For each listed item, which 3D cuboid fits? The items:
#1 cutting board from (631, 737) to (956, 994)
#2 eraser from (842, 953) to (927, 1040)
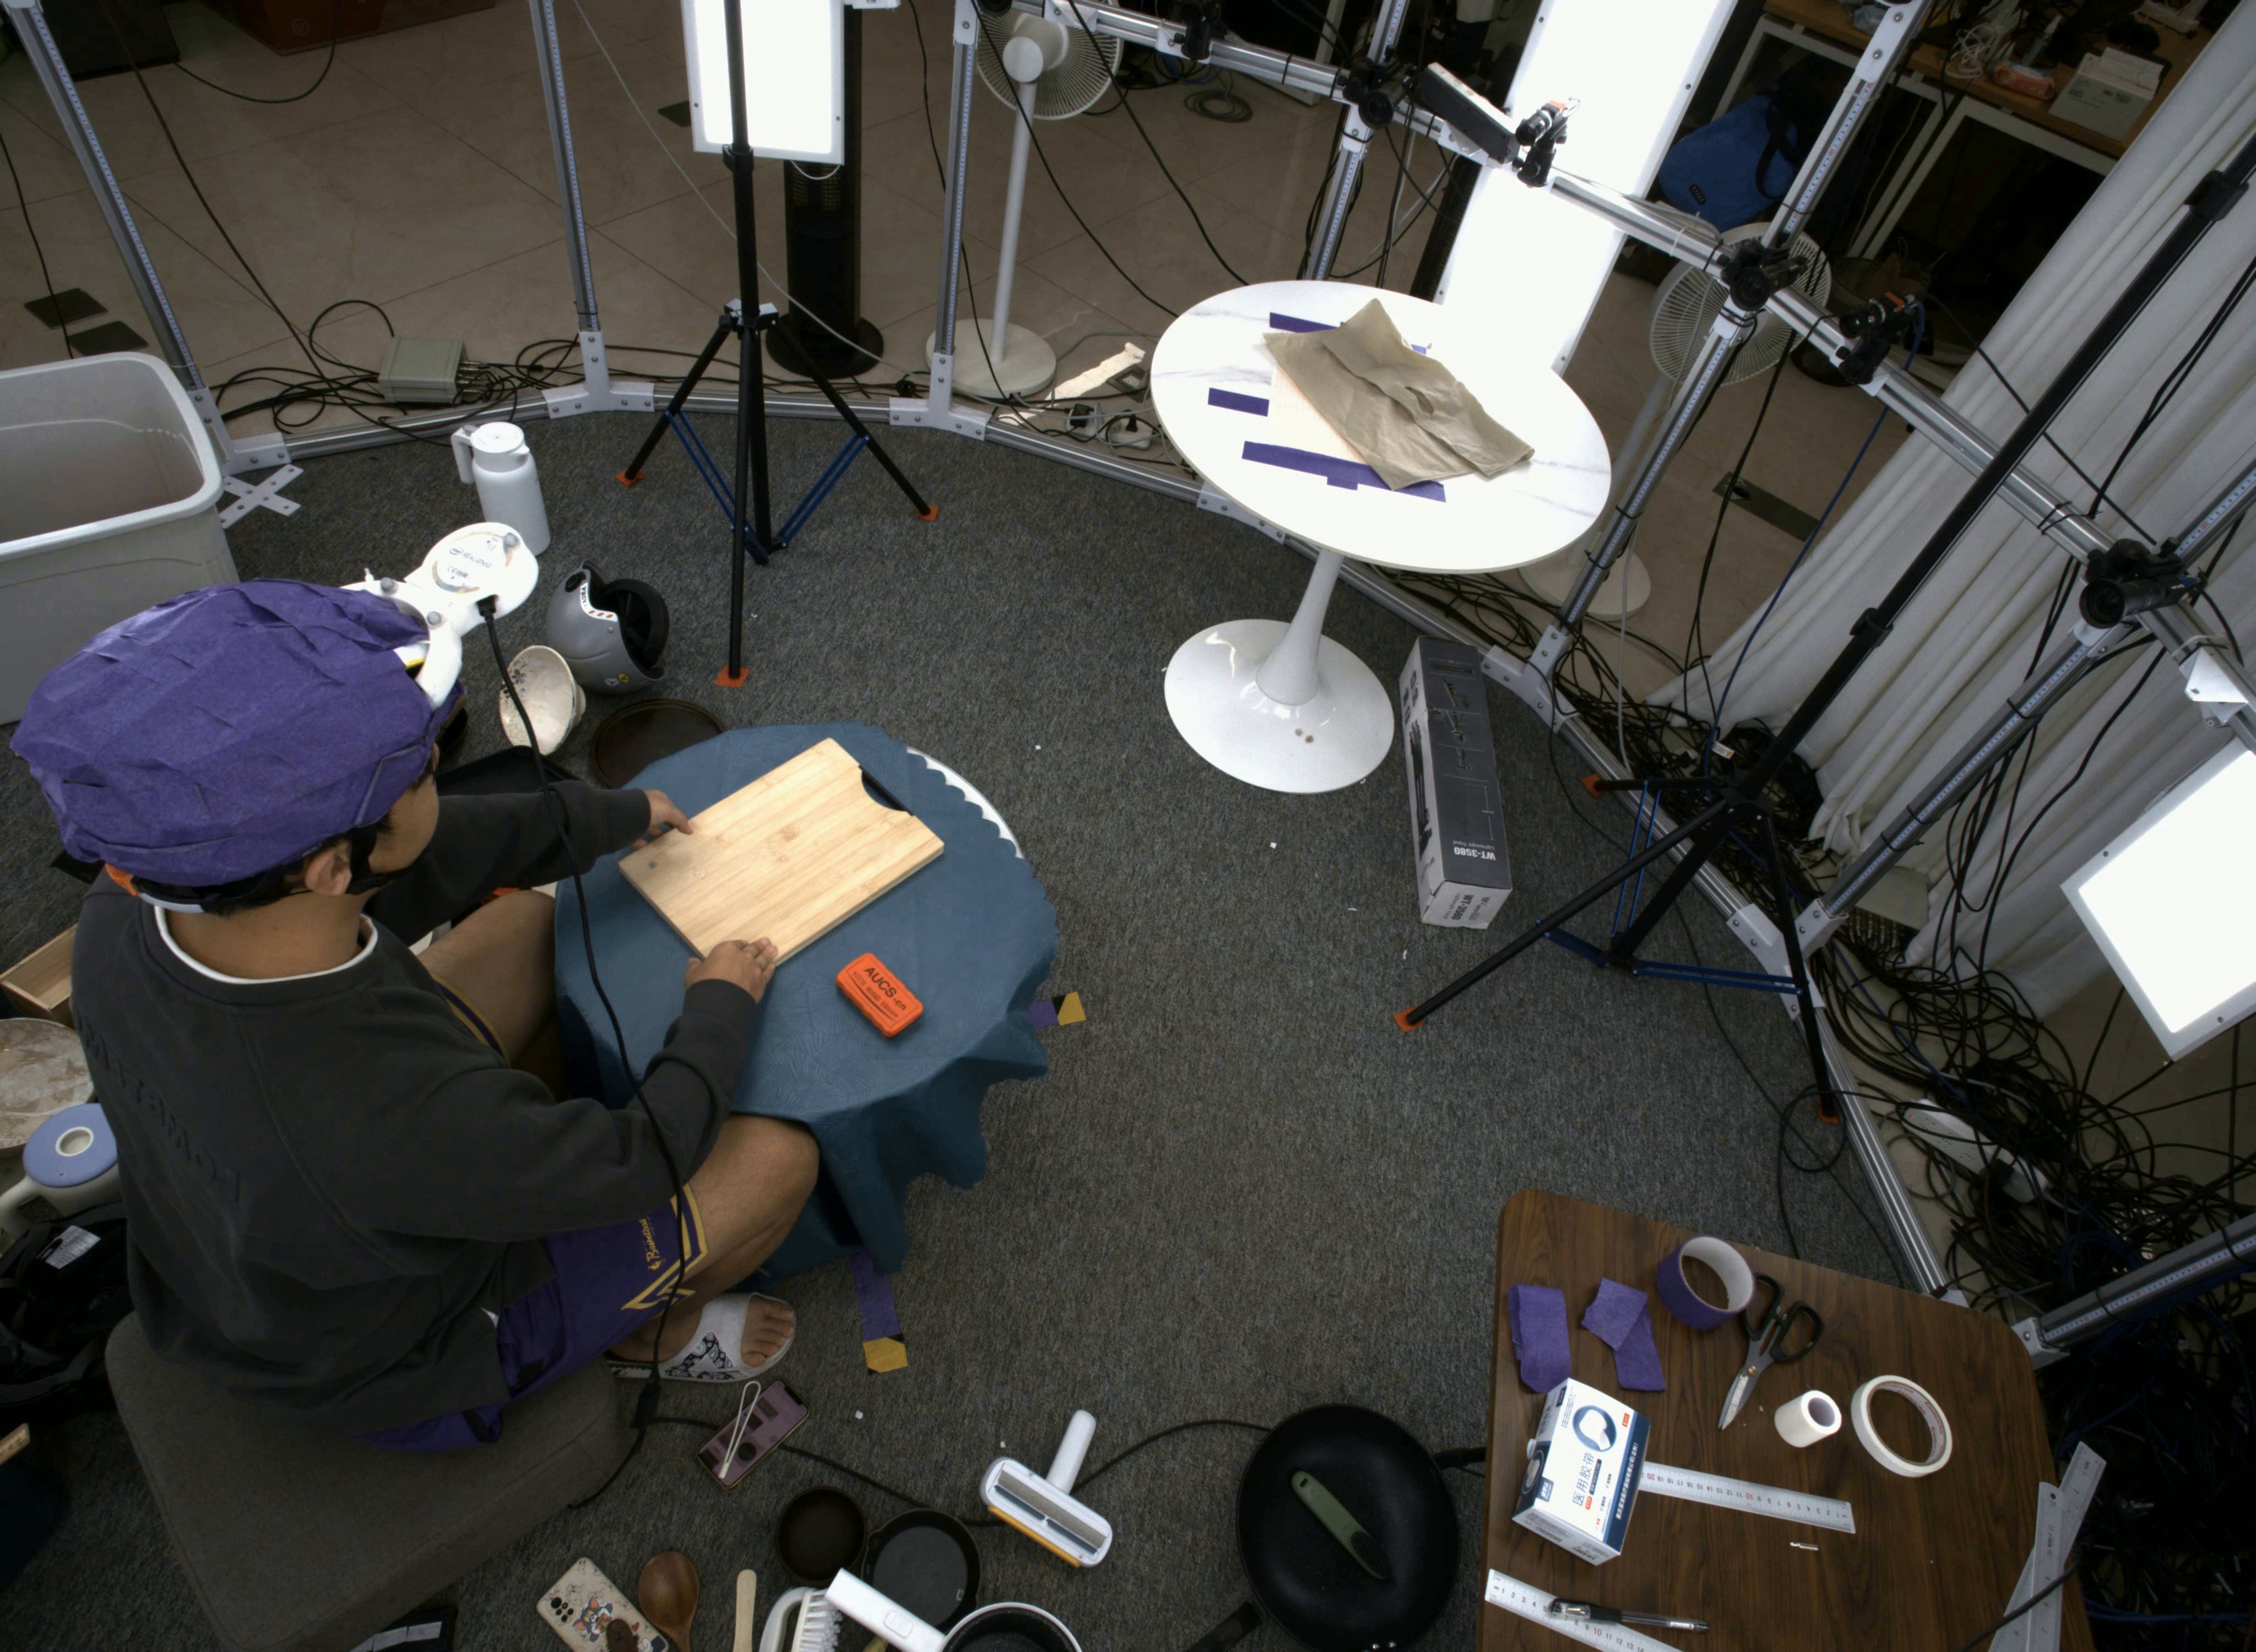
[{"bbox_3d":[-0.434,0.038,1.687,0.245,0.024,0.349,41,55,16],"label":"cutting board"},{"bbox_3d":[-0.298,0.206,1.592,0.105,0.023,0.059,42,55,18],"label":"eraser"}]
